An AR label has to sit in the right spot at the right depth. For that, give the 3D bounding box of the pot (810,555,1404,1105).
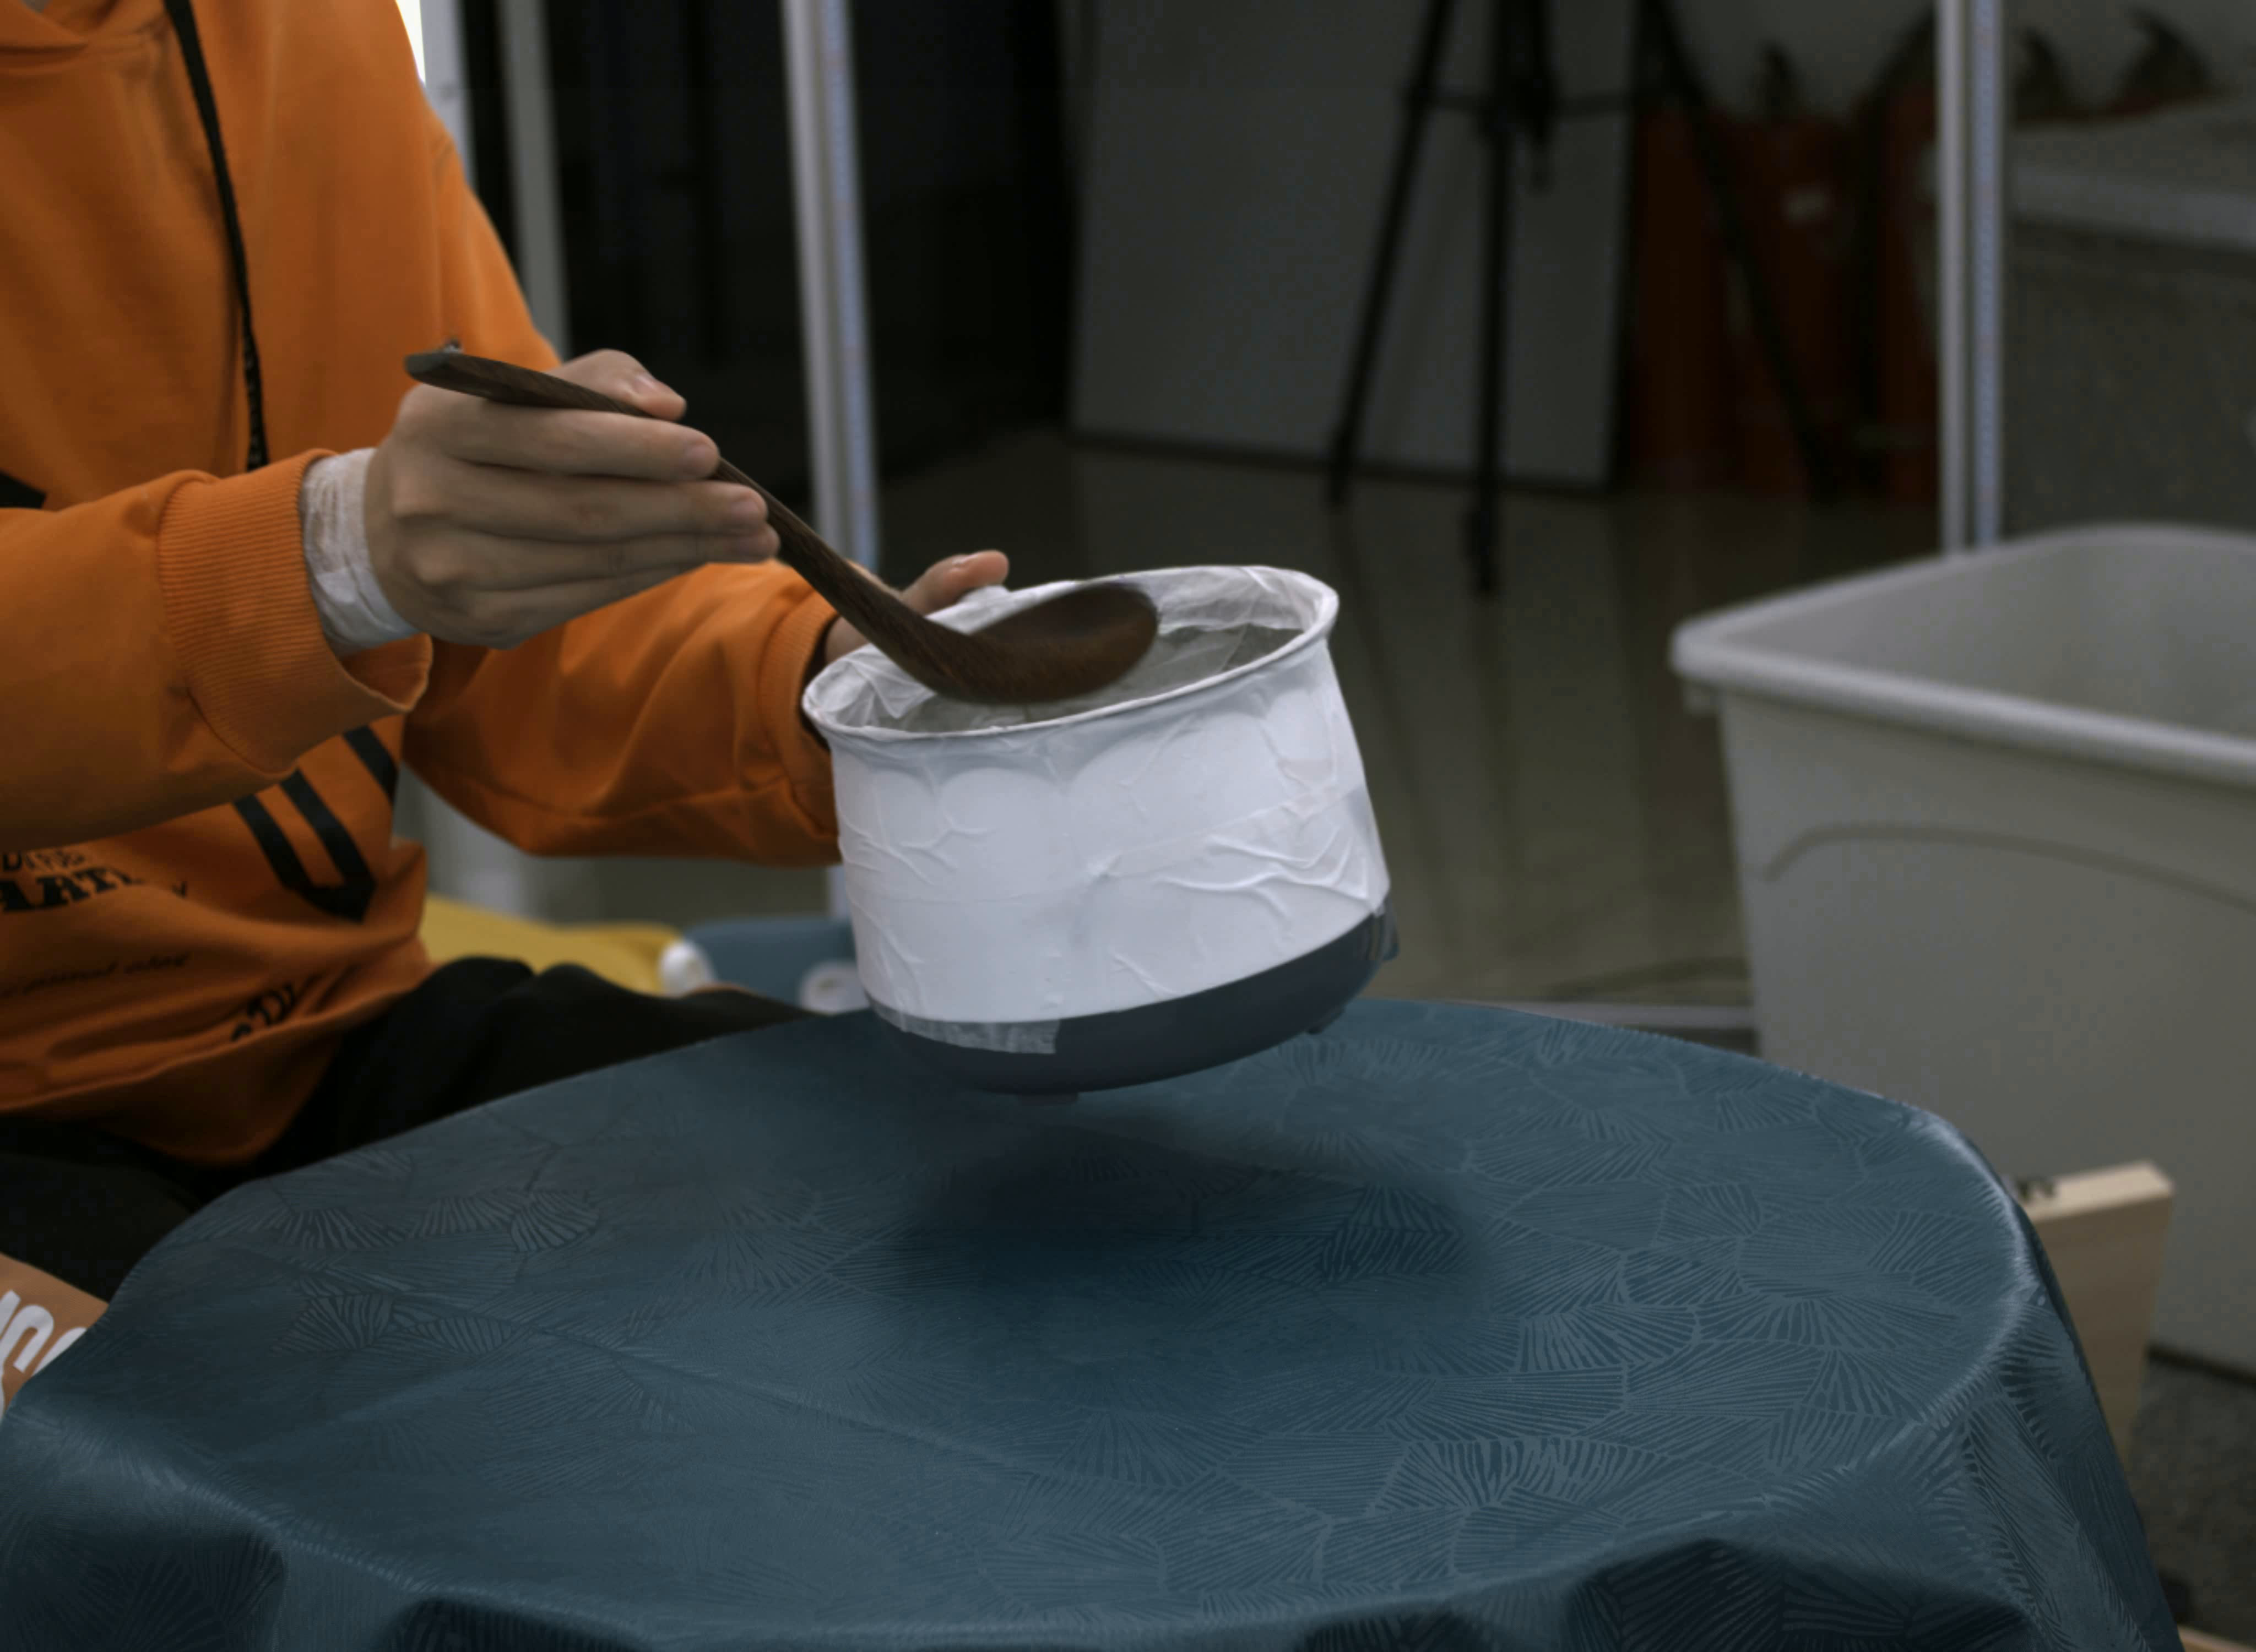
[{"bbox_3d":[-0.014,-0.005,1.772,0.175,0.138,0.236,-15,16,-15],"label":"pot"}]

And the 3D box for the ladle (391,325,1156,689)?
[{"bbox_3d":[-0.104,-0.114,1.665,0.269,0.072,0.077,31,-22,-32],"label":"ladle"}]
